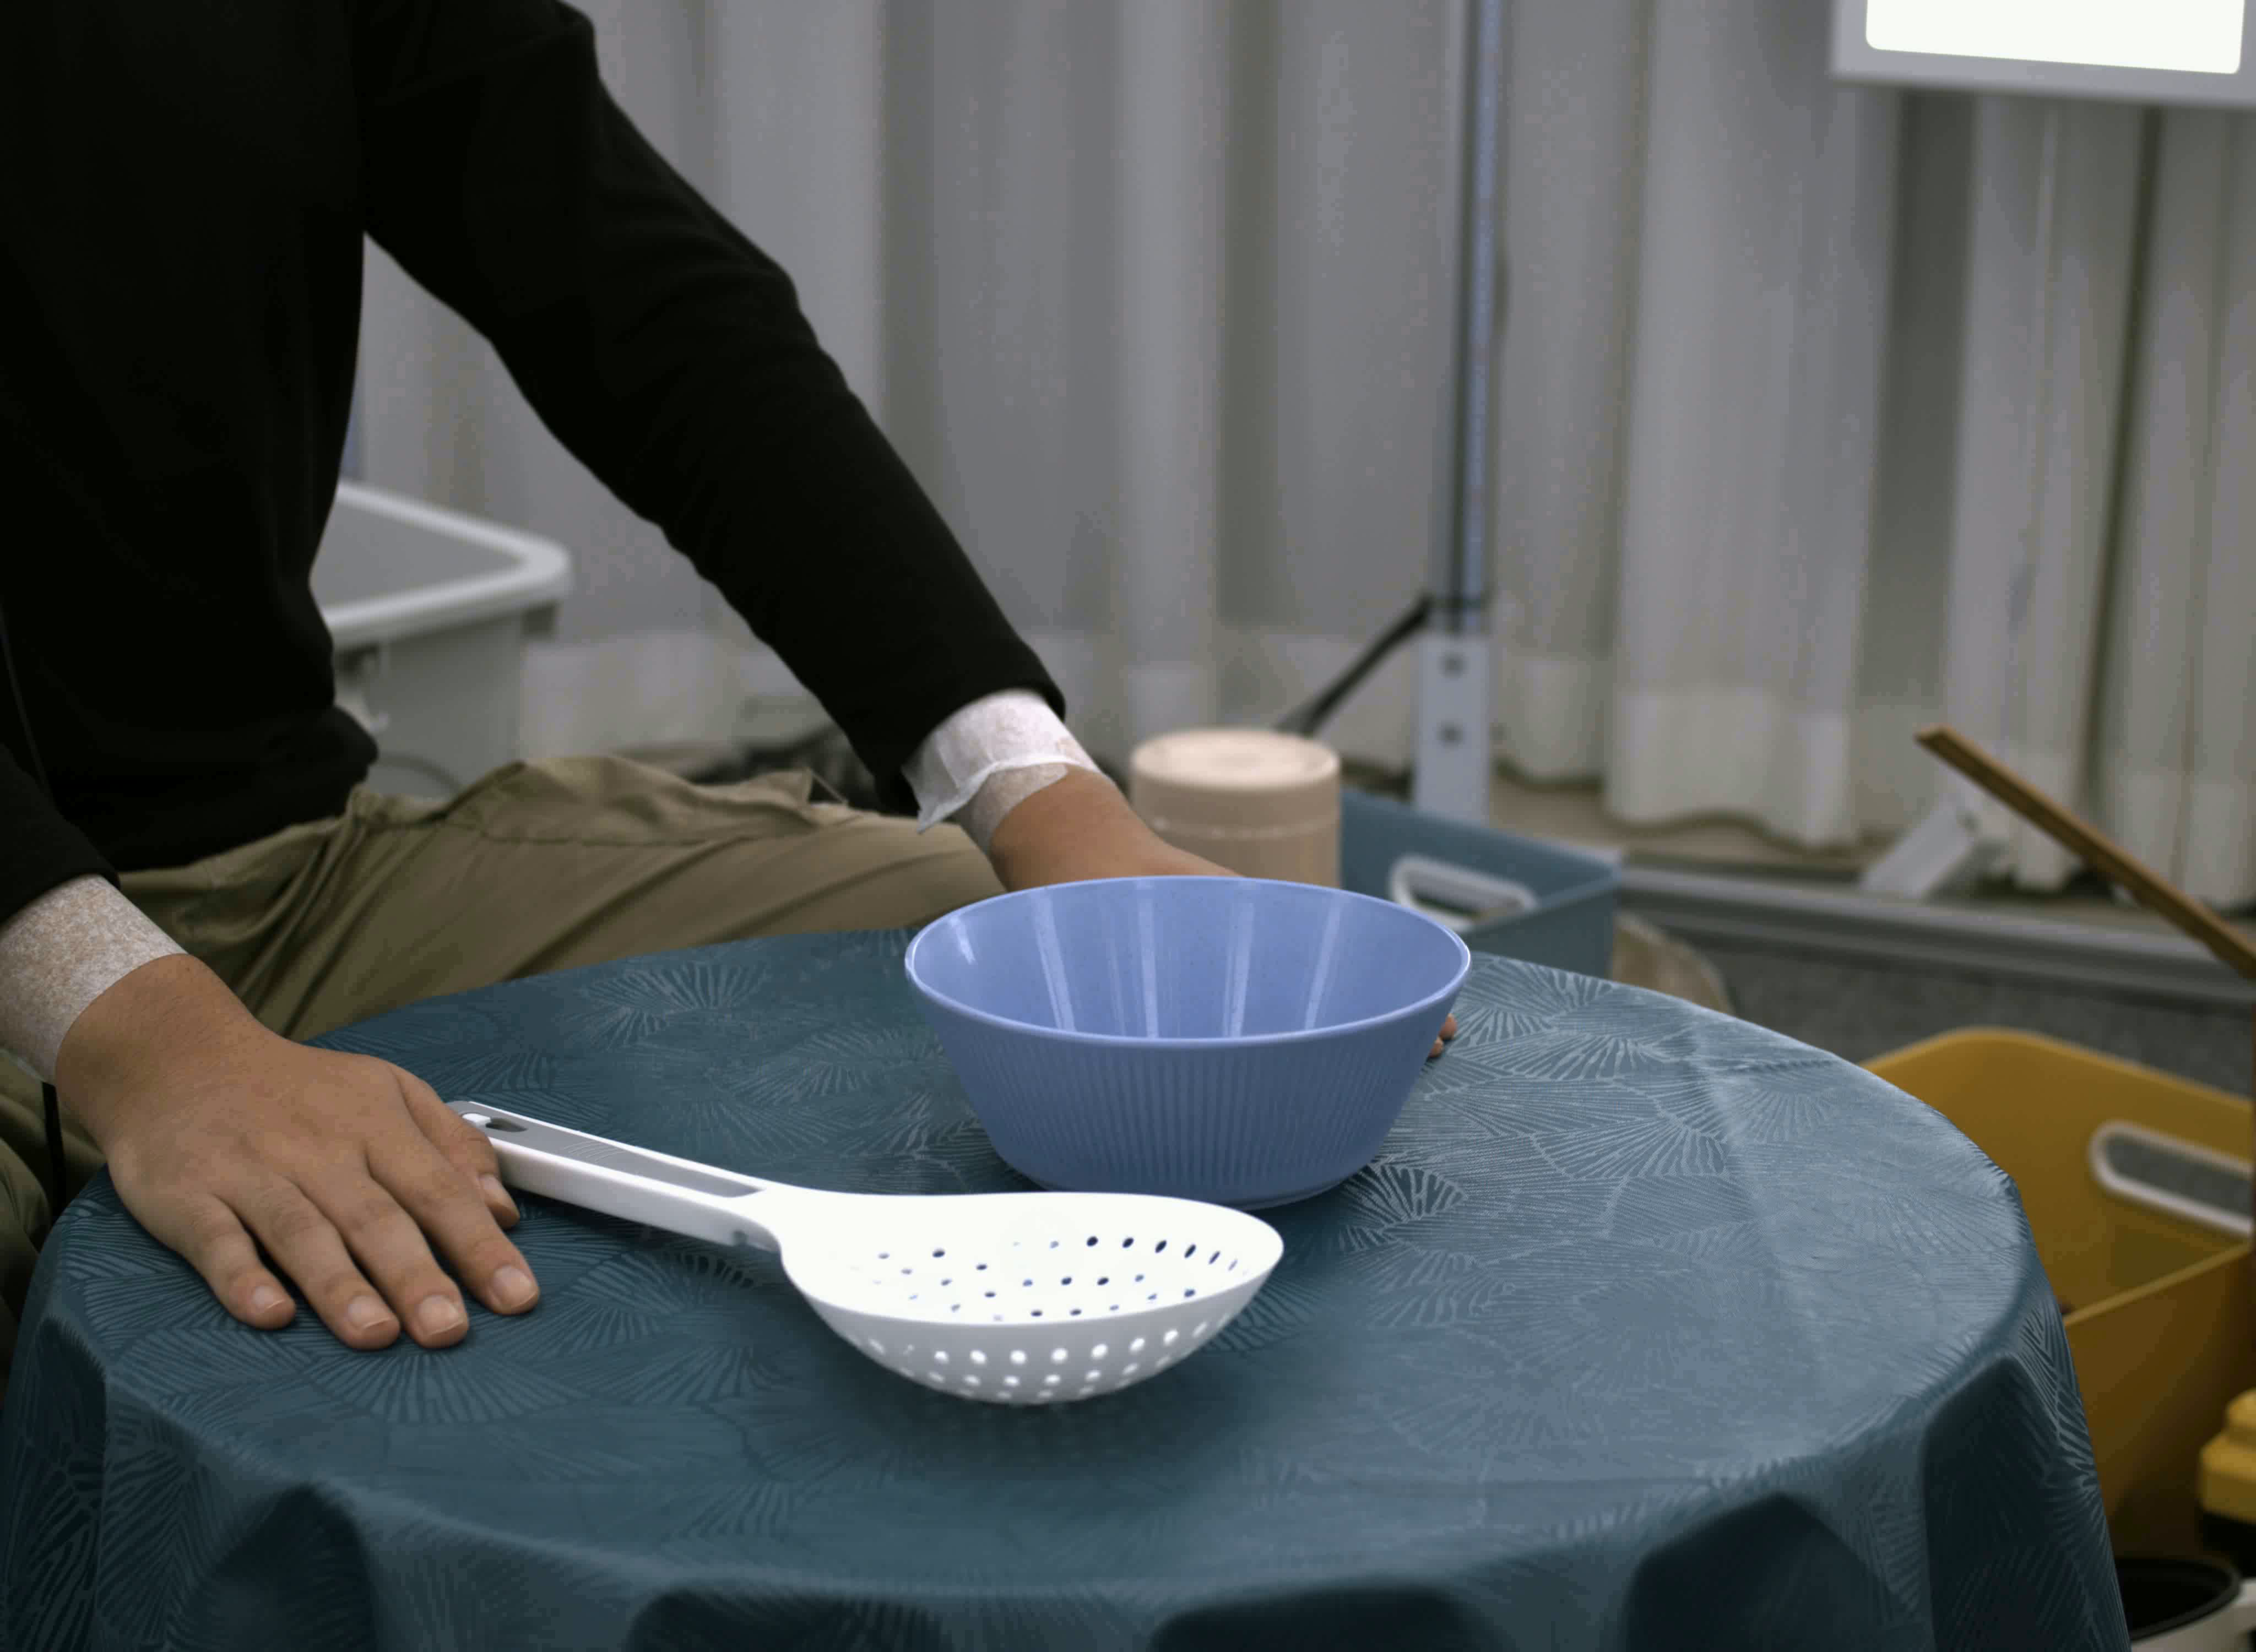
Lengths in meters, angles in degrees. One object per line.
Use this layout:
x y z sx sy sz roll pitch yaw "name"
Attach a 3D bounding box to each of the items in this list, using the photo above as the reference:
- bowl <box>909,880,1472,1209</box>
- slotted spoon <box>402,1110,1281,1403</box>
0.019 0.070 1.642 0.175 0.071 0.175 1 14 0 "bowl"
-0.099 0.114 1.525 0.137 0.046 0.345 -14 20 -43 "slotted spoon"
